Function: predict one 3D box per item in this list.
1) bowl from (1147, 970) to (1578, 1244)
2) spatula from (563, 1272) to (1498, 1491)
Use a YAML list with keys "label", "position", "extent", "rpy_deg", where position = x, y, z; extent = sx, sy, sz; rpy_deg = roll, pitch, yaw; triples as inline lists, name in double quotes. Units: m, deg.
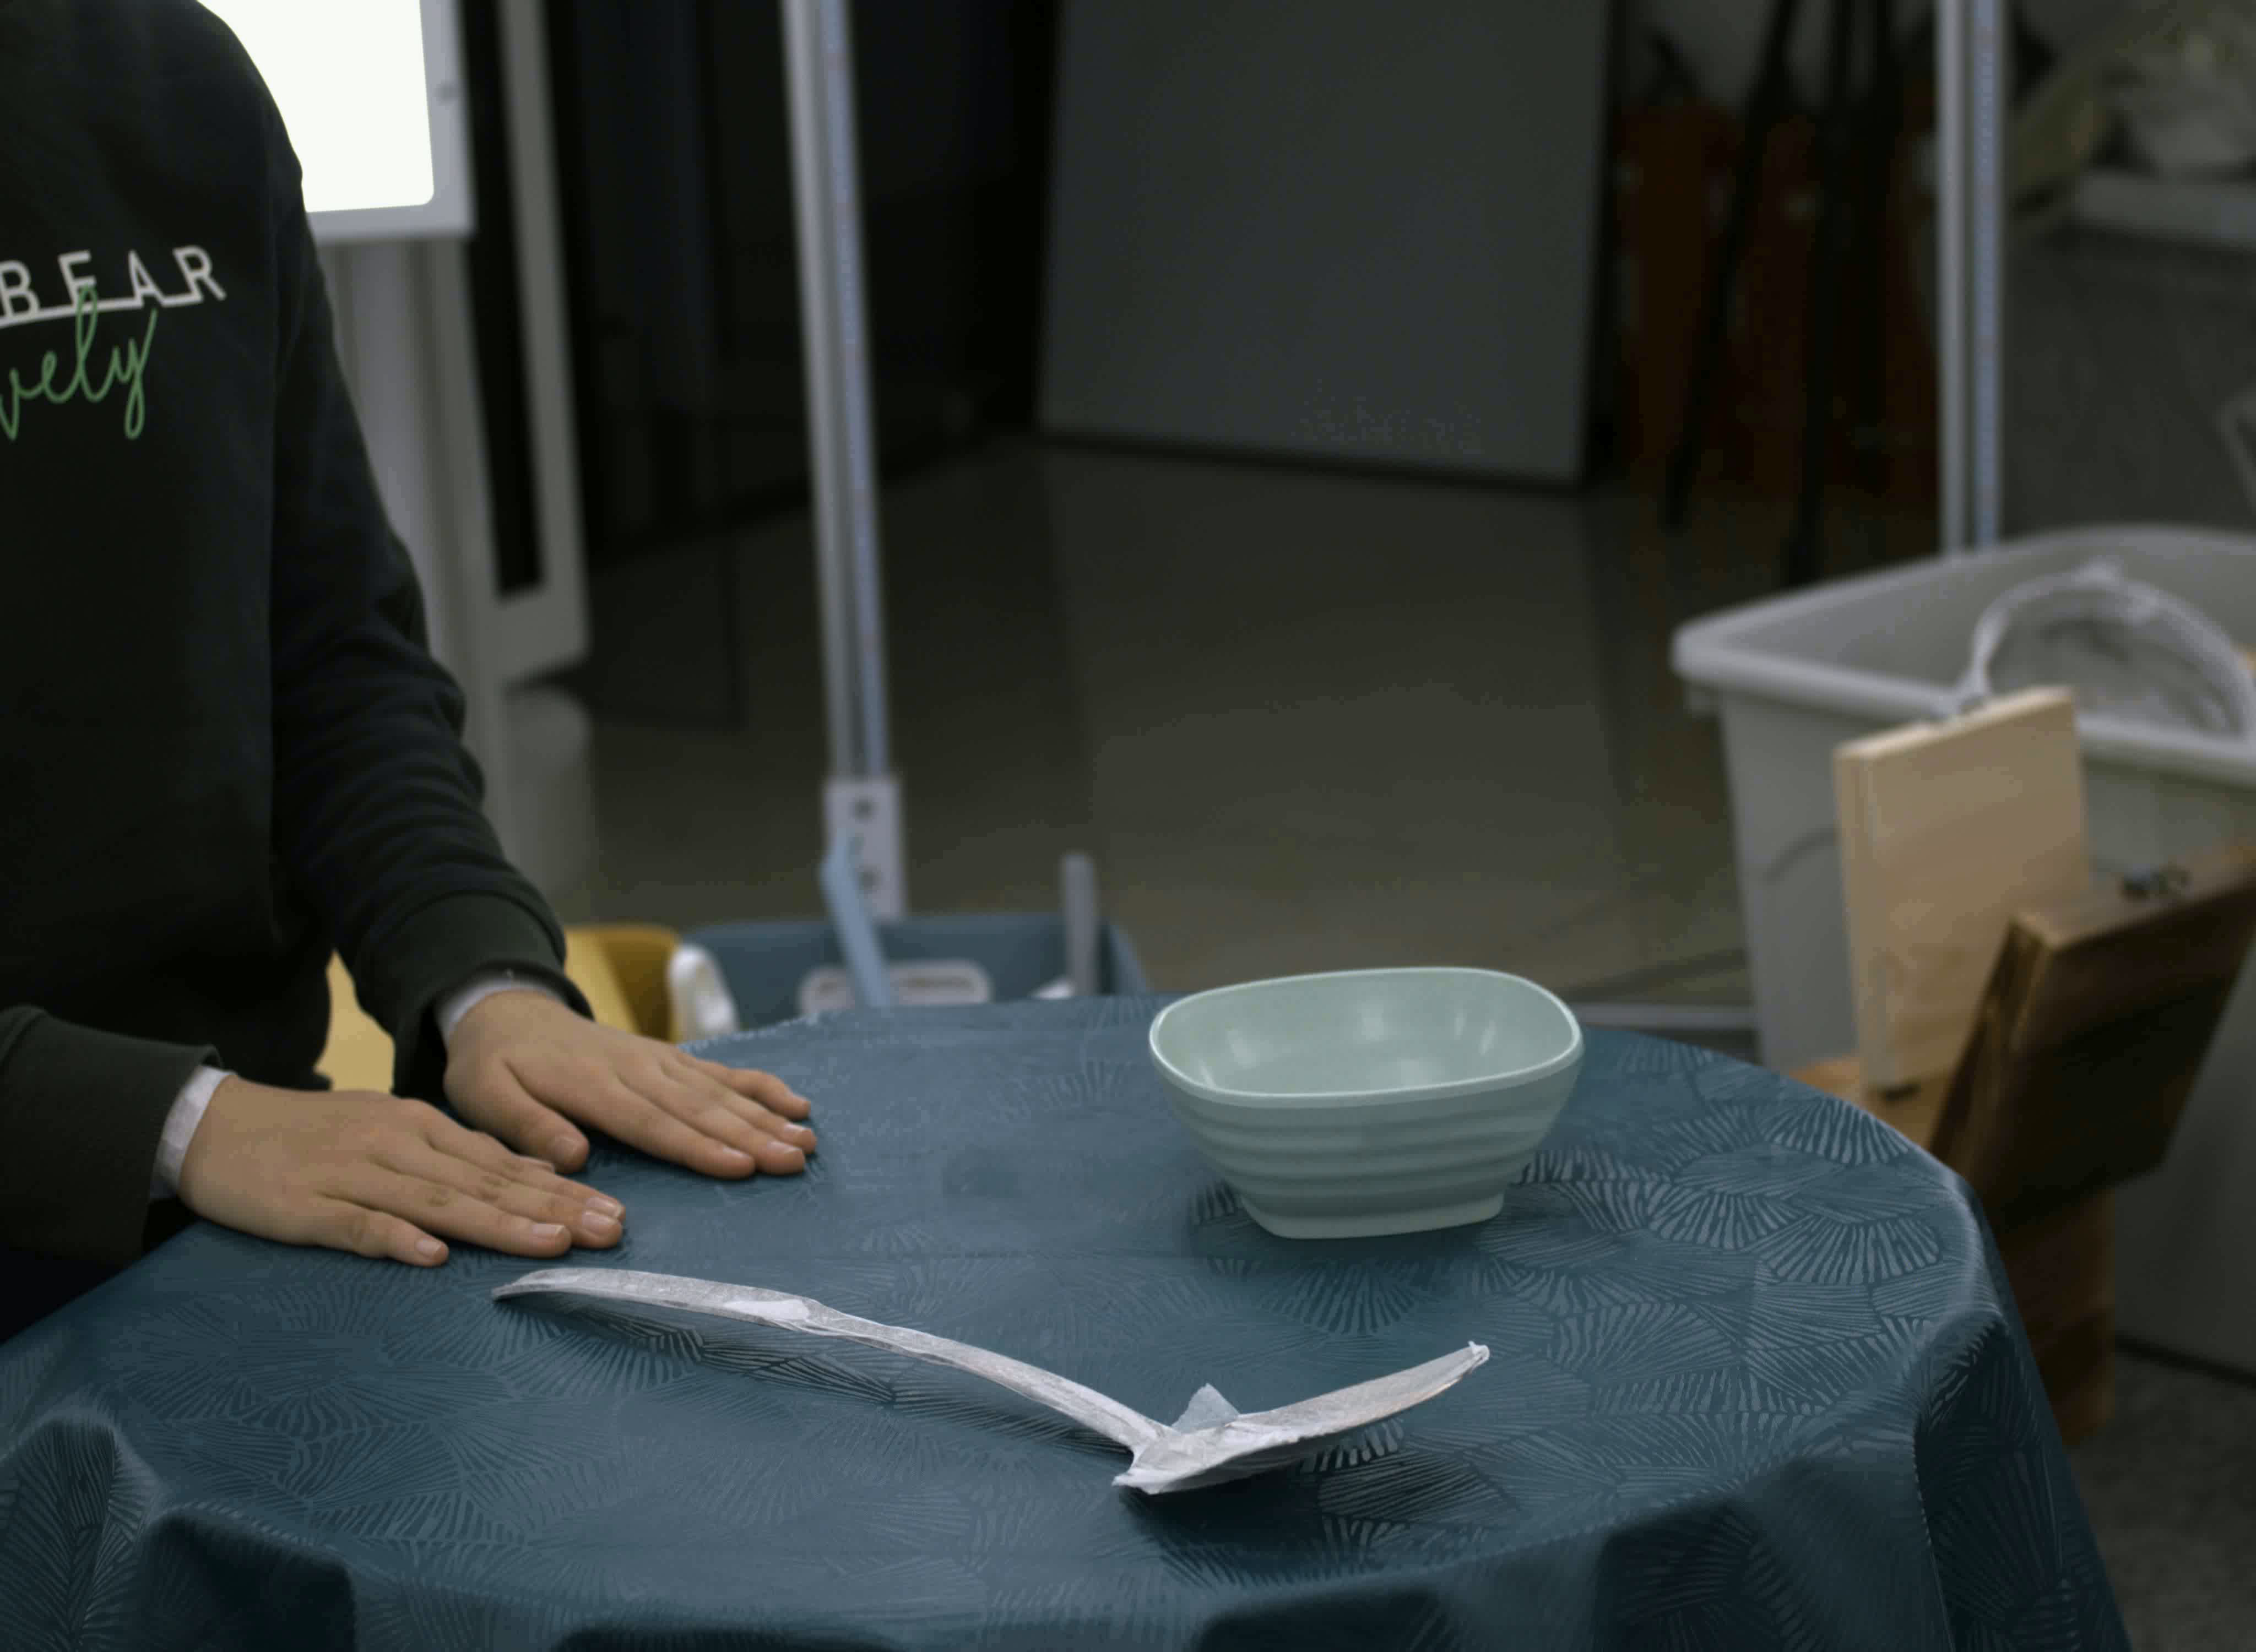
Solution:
- label: "bowl"
  position: [0.076, 0.094, 1.743]
  extent: [0.149, 0.059, 0.152]
  rpy_deg: [-2, 15, 0]
- label: "spatula"
  position: [-0.050, 0.151, 1.584]
  extent: [0.368, 0.045, 0.097]
  rpy_deg: [9, 21, 42]
